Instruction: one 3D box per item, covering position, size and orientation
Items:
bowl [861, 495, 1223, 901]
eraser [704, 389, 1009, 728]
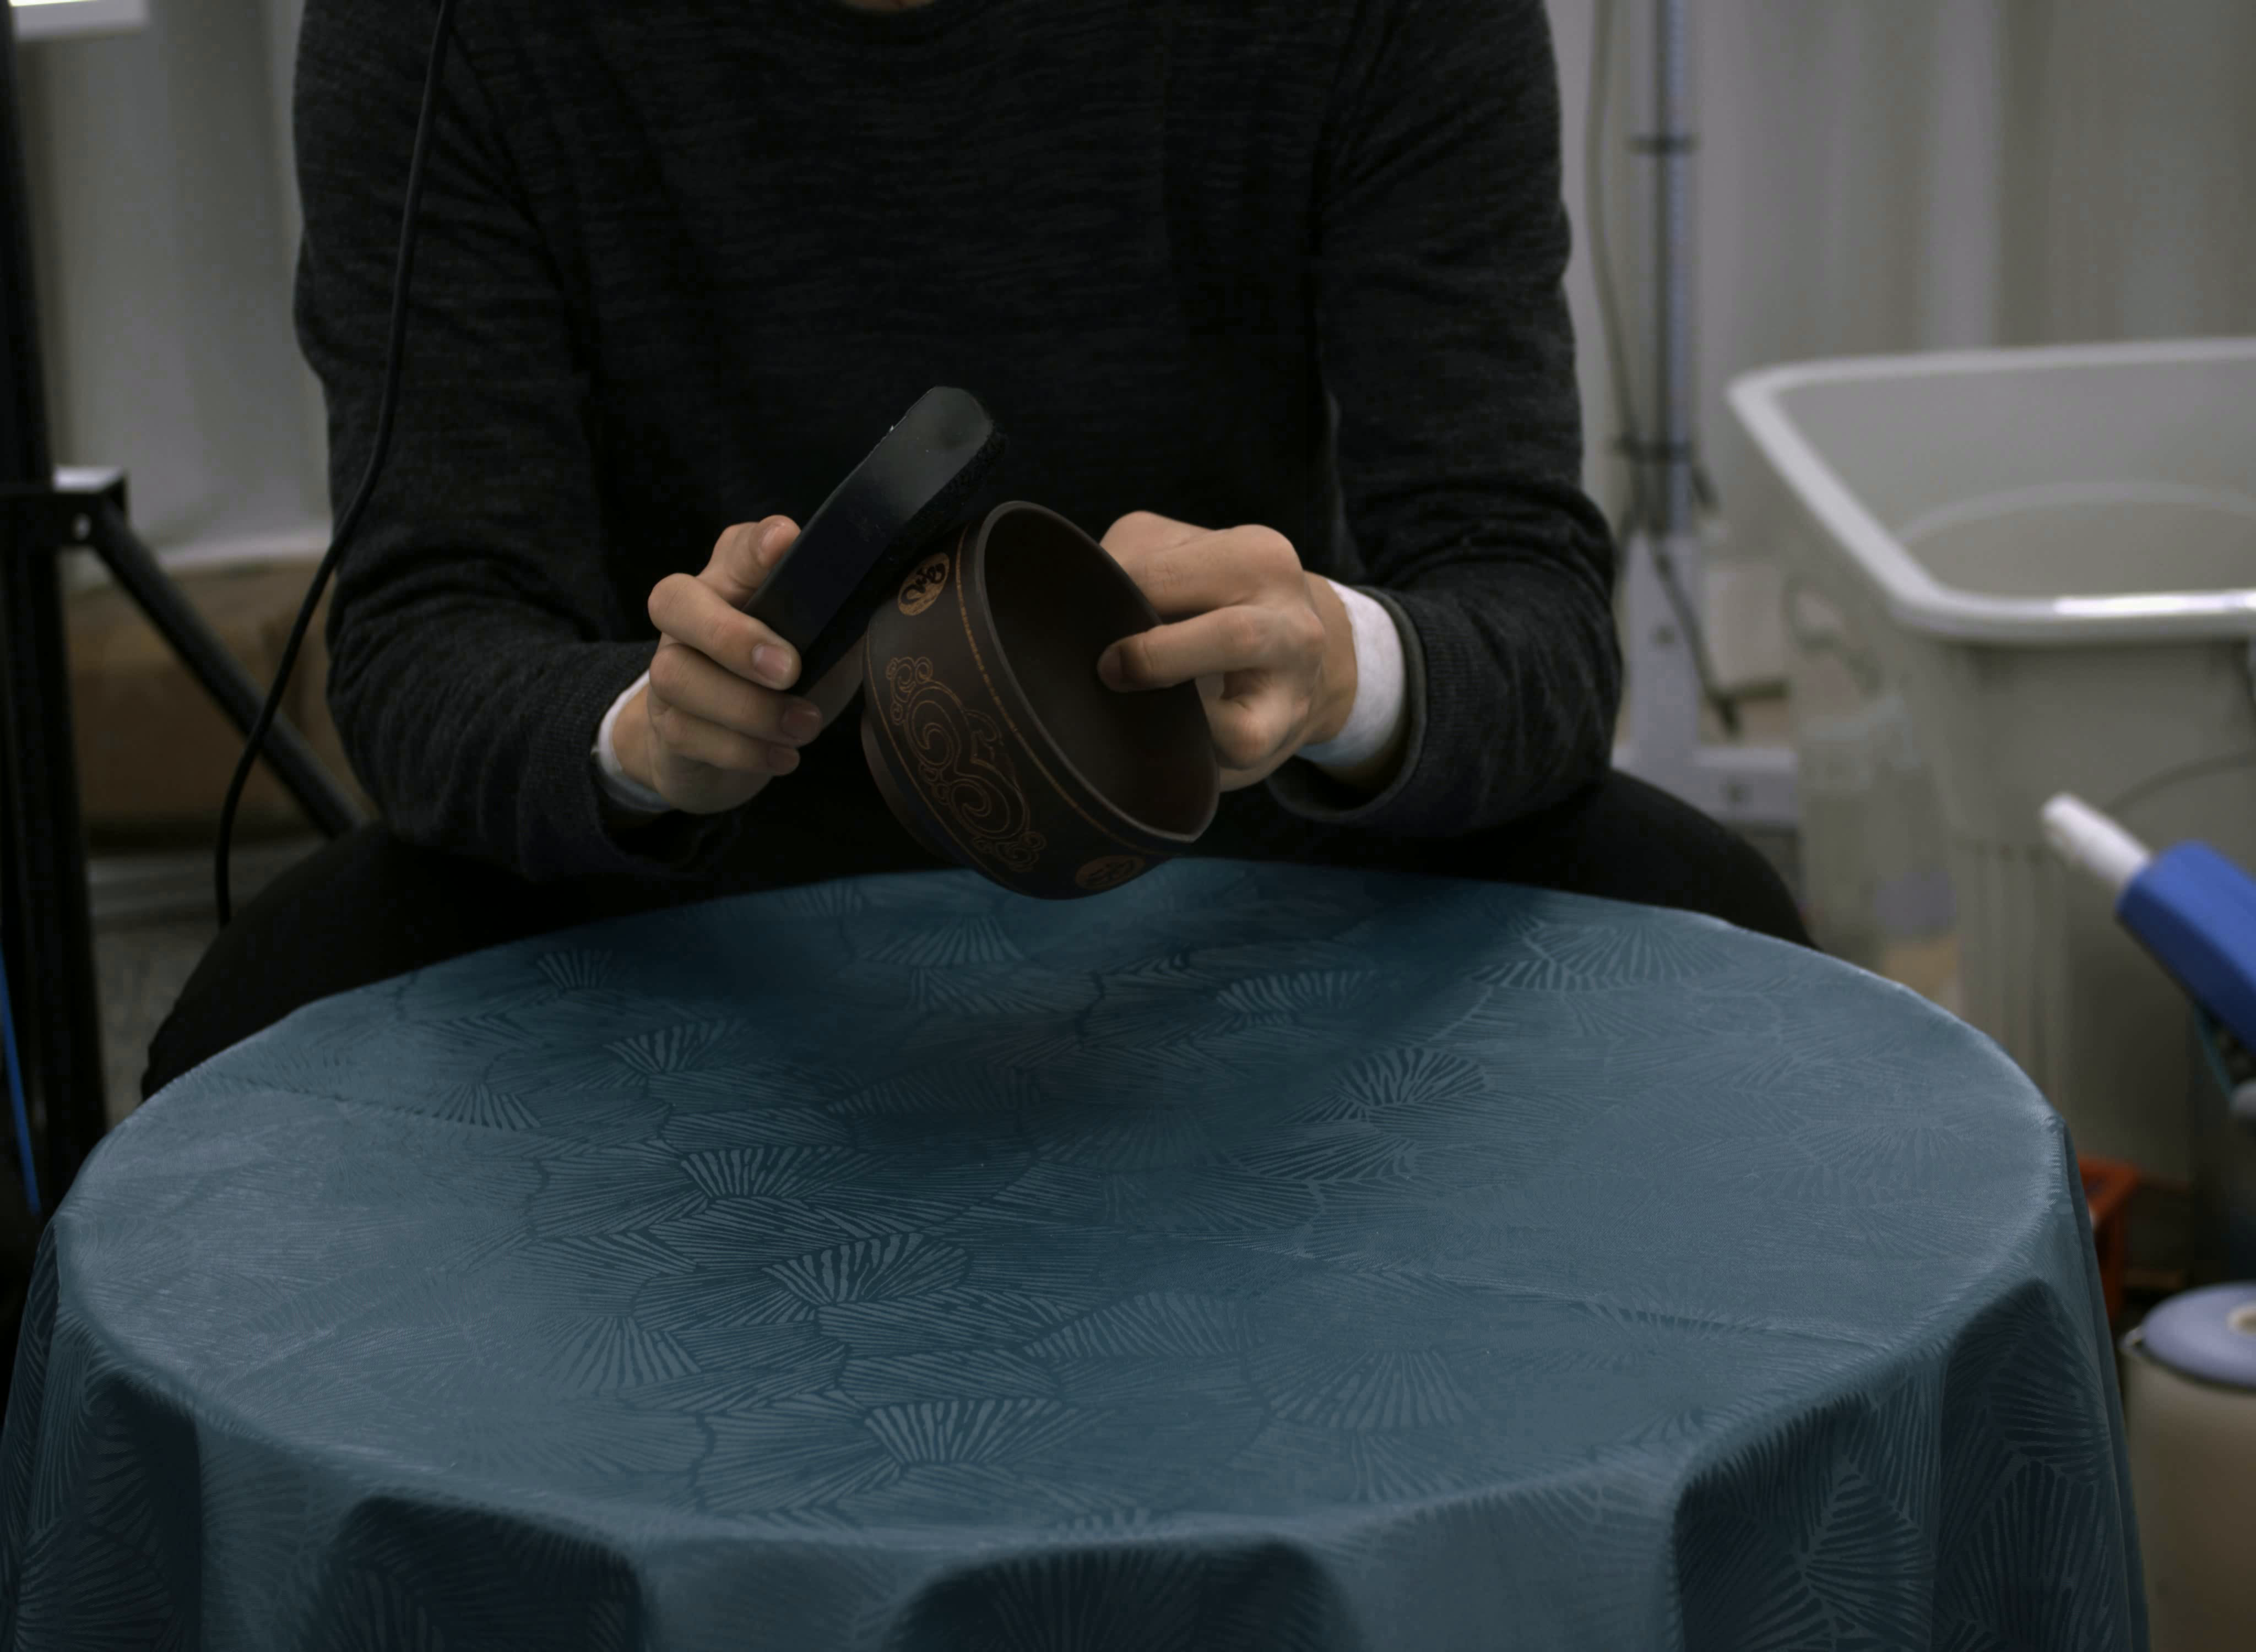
[{"bbox_3d":[-0.034,-0.030,1.560,0.070,0.118,0.116,-33,1,26],"label":"bowl"},{"bbox_3d":[-0.081,-0.079,1.576,0.053,0.030,0.126,-43,-3,-37],"label":"eraser"}]
